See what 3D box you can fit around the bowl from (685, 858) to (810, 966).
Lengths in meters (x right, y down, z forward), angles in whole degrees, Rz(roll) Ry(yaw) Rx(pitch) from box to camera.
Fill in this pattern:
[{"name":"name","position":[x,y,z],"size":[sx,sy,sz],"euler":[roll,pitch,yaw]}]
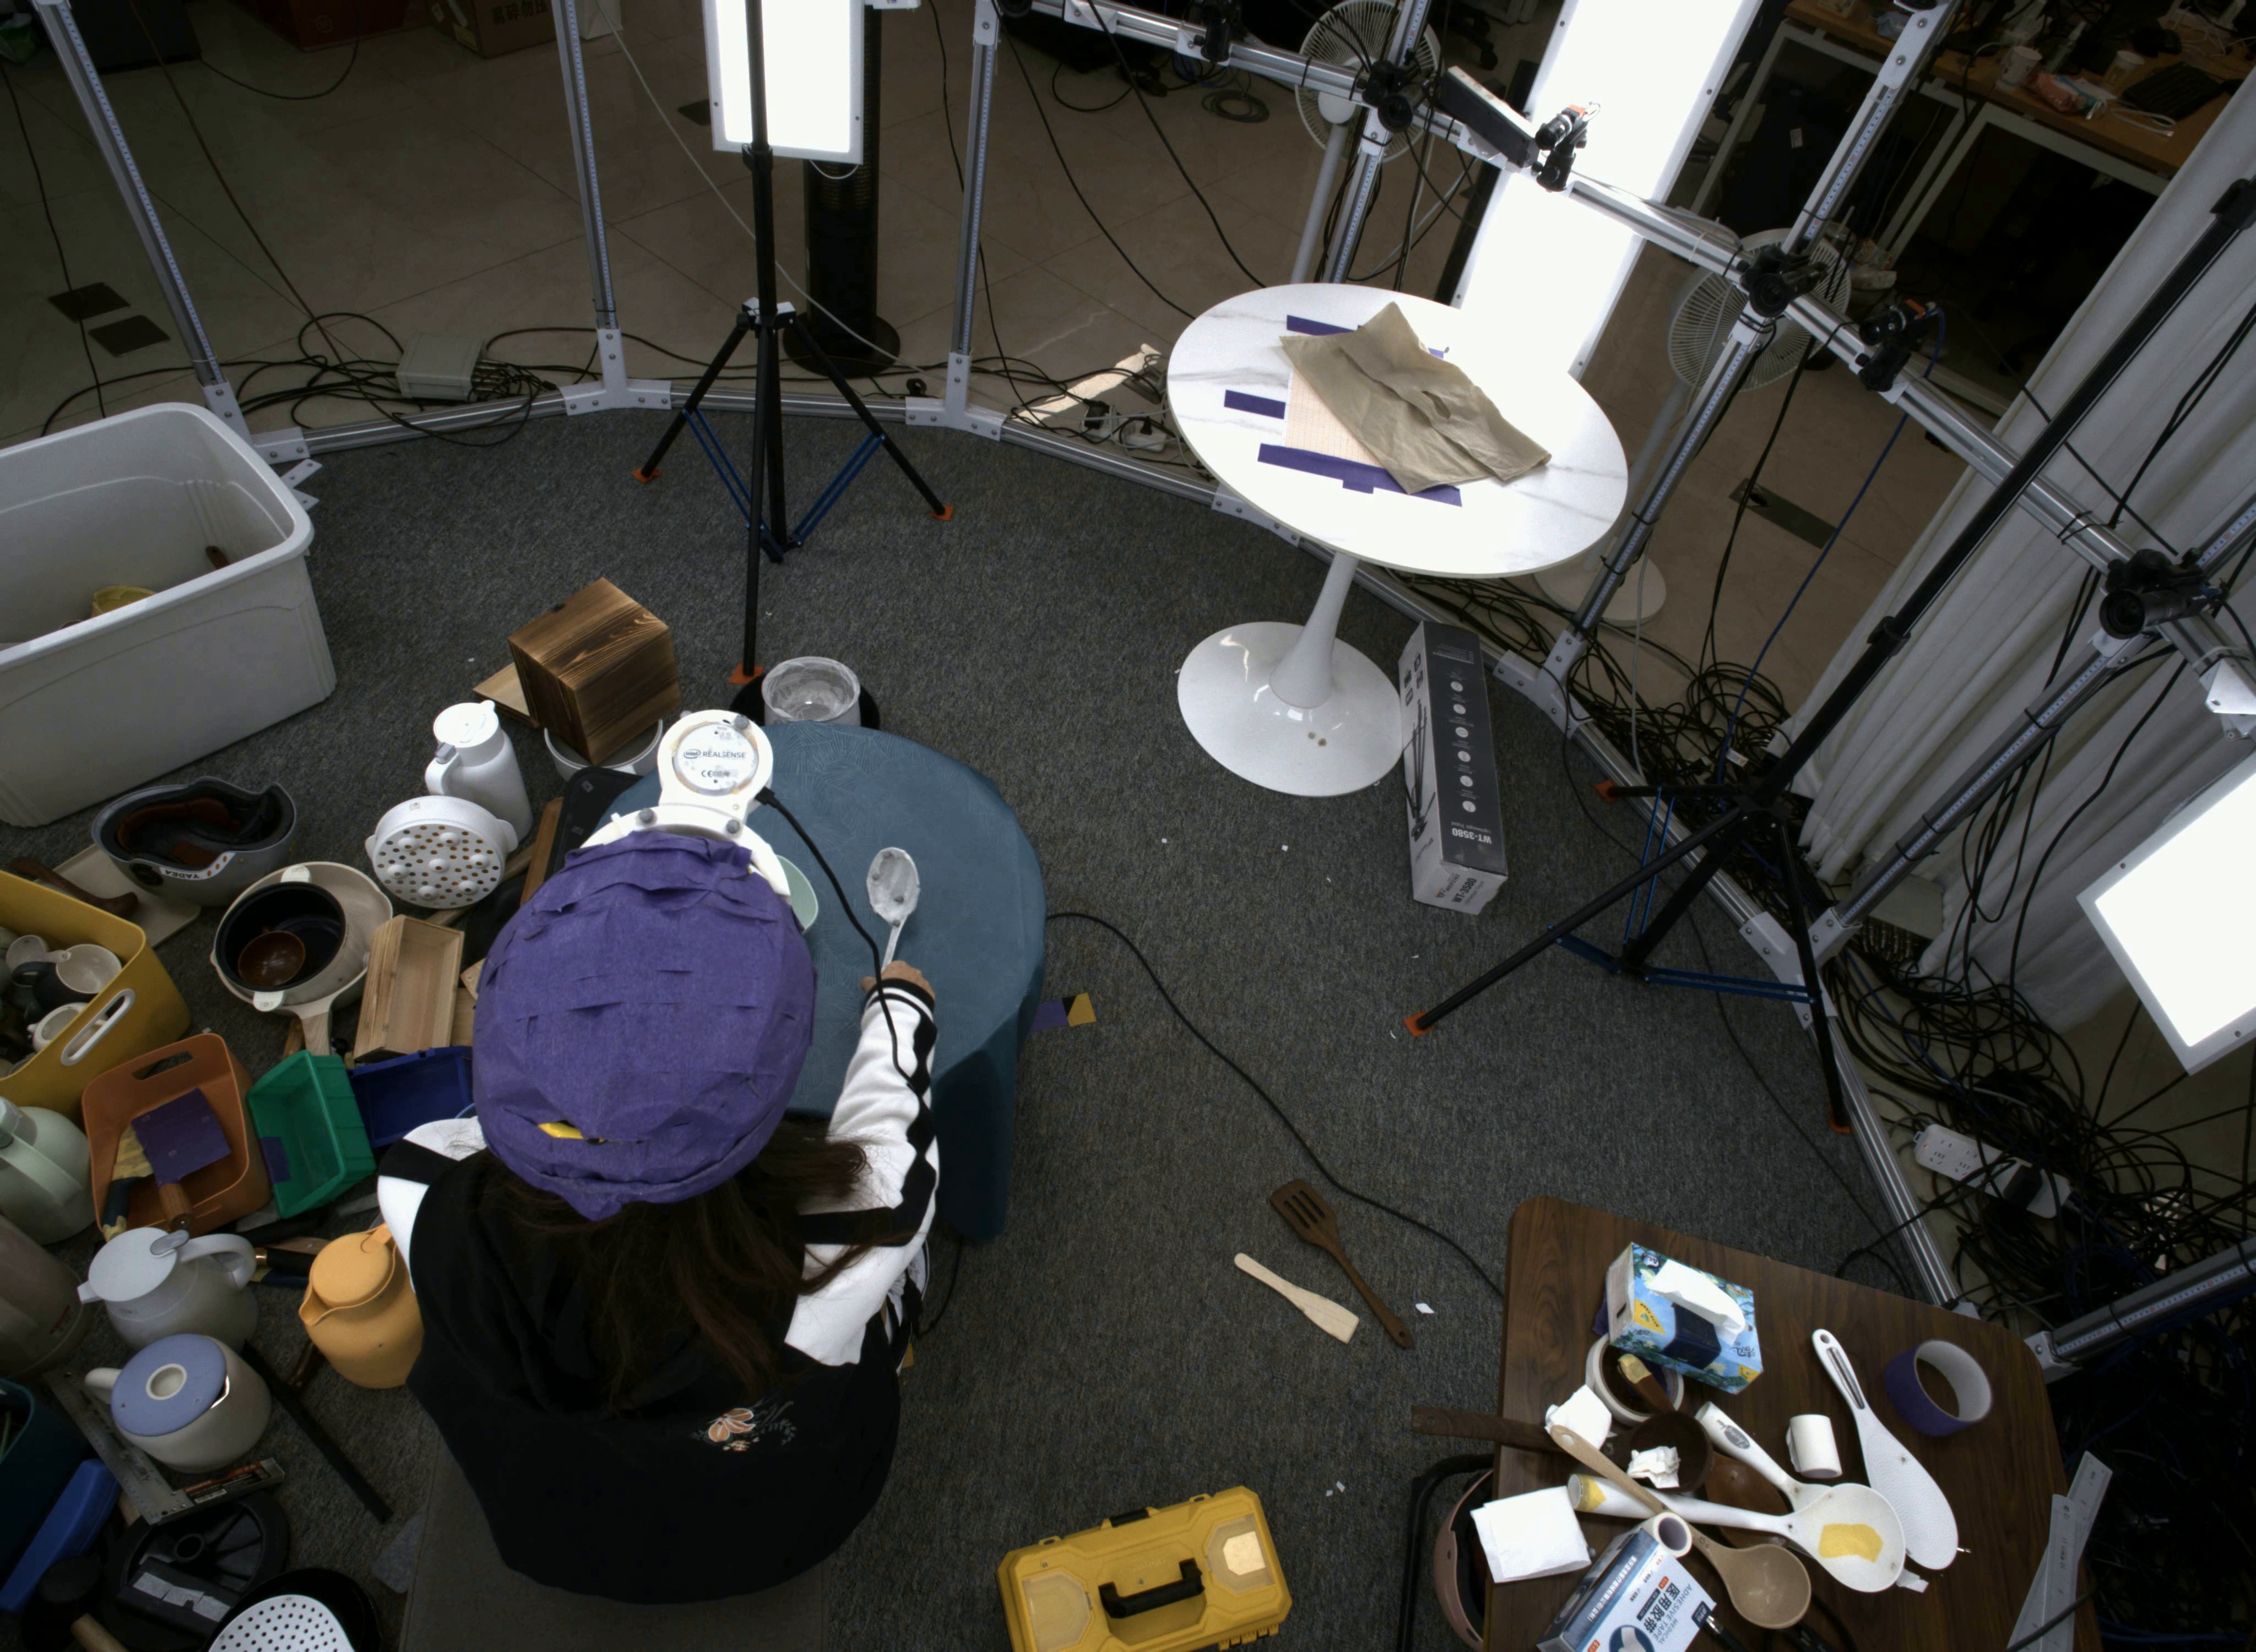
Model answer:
[{"name":"bowl","position":[-0.465,0.114,1.589],"size":[0.151,0.060,0.149],"euler":[8,52,-8]}]

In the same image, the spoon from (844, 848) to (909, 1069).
[{"name":"spoon","position":[-0.328,0.157,1.595],"size":[0.061,0.098,0.274],"euler":[37,51,-34]}]
